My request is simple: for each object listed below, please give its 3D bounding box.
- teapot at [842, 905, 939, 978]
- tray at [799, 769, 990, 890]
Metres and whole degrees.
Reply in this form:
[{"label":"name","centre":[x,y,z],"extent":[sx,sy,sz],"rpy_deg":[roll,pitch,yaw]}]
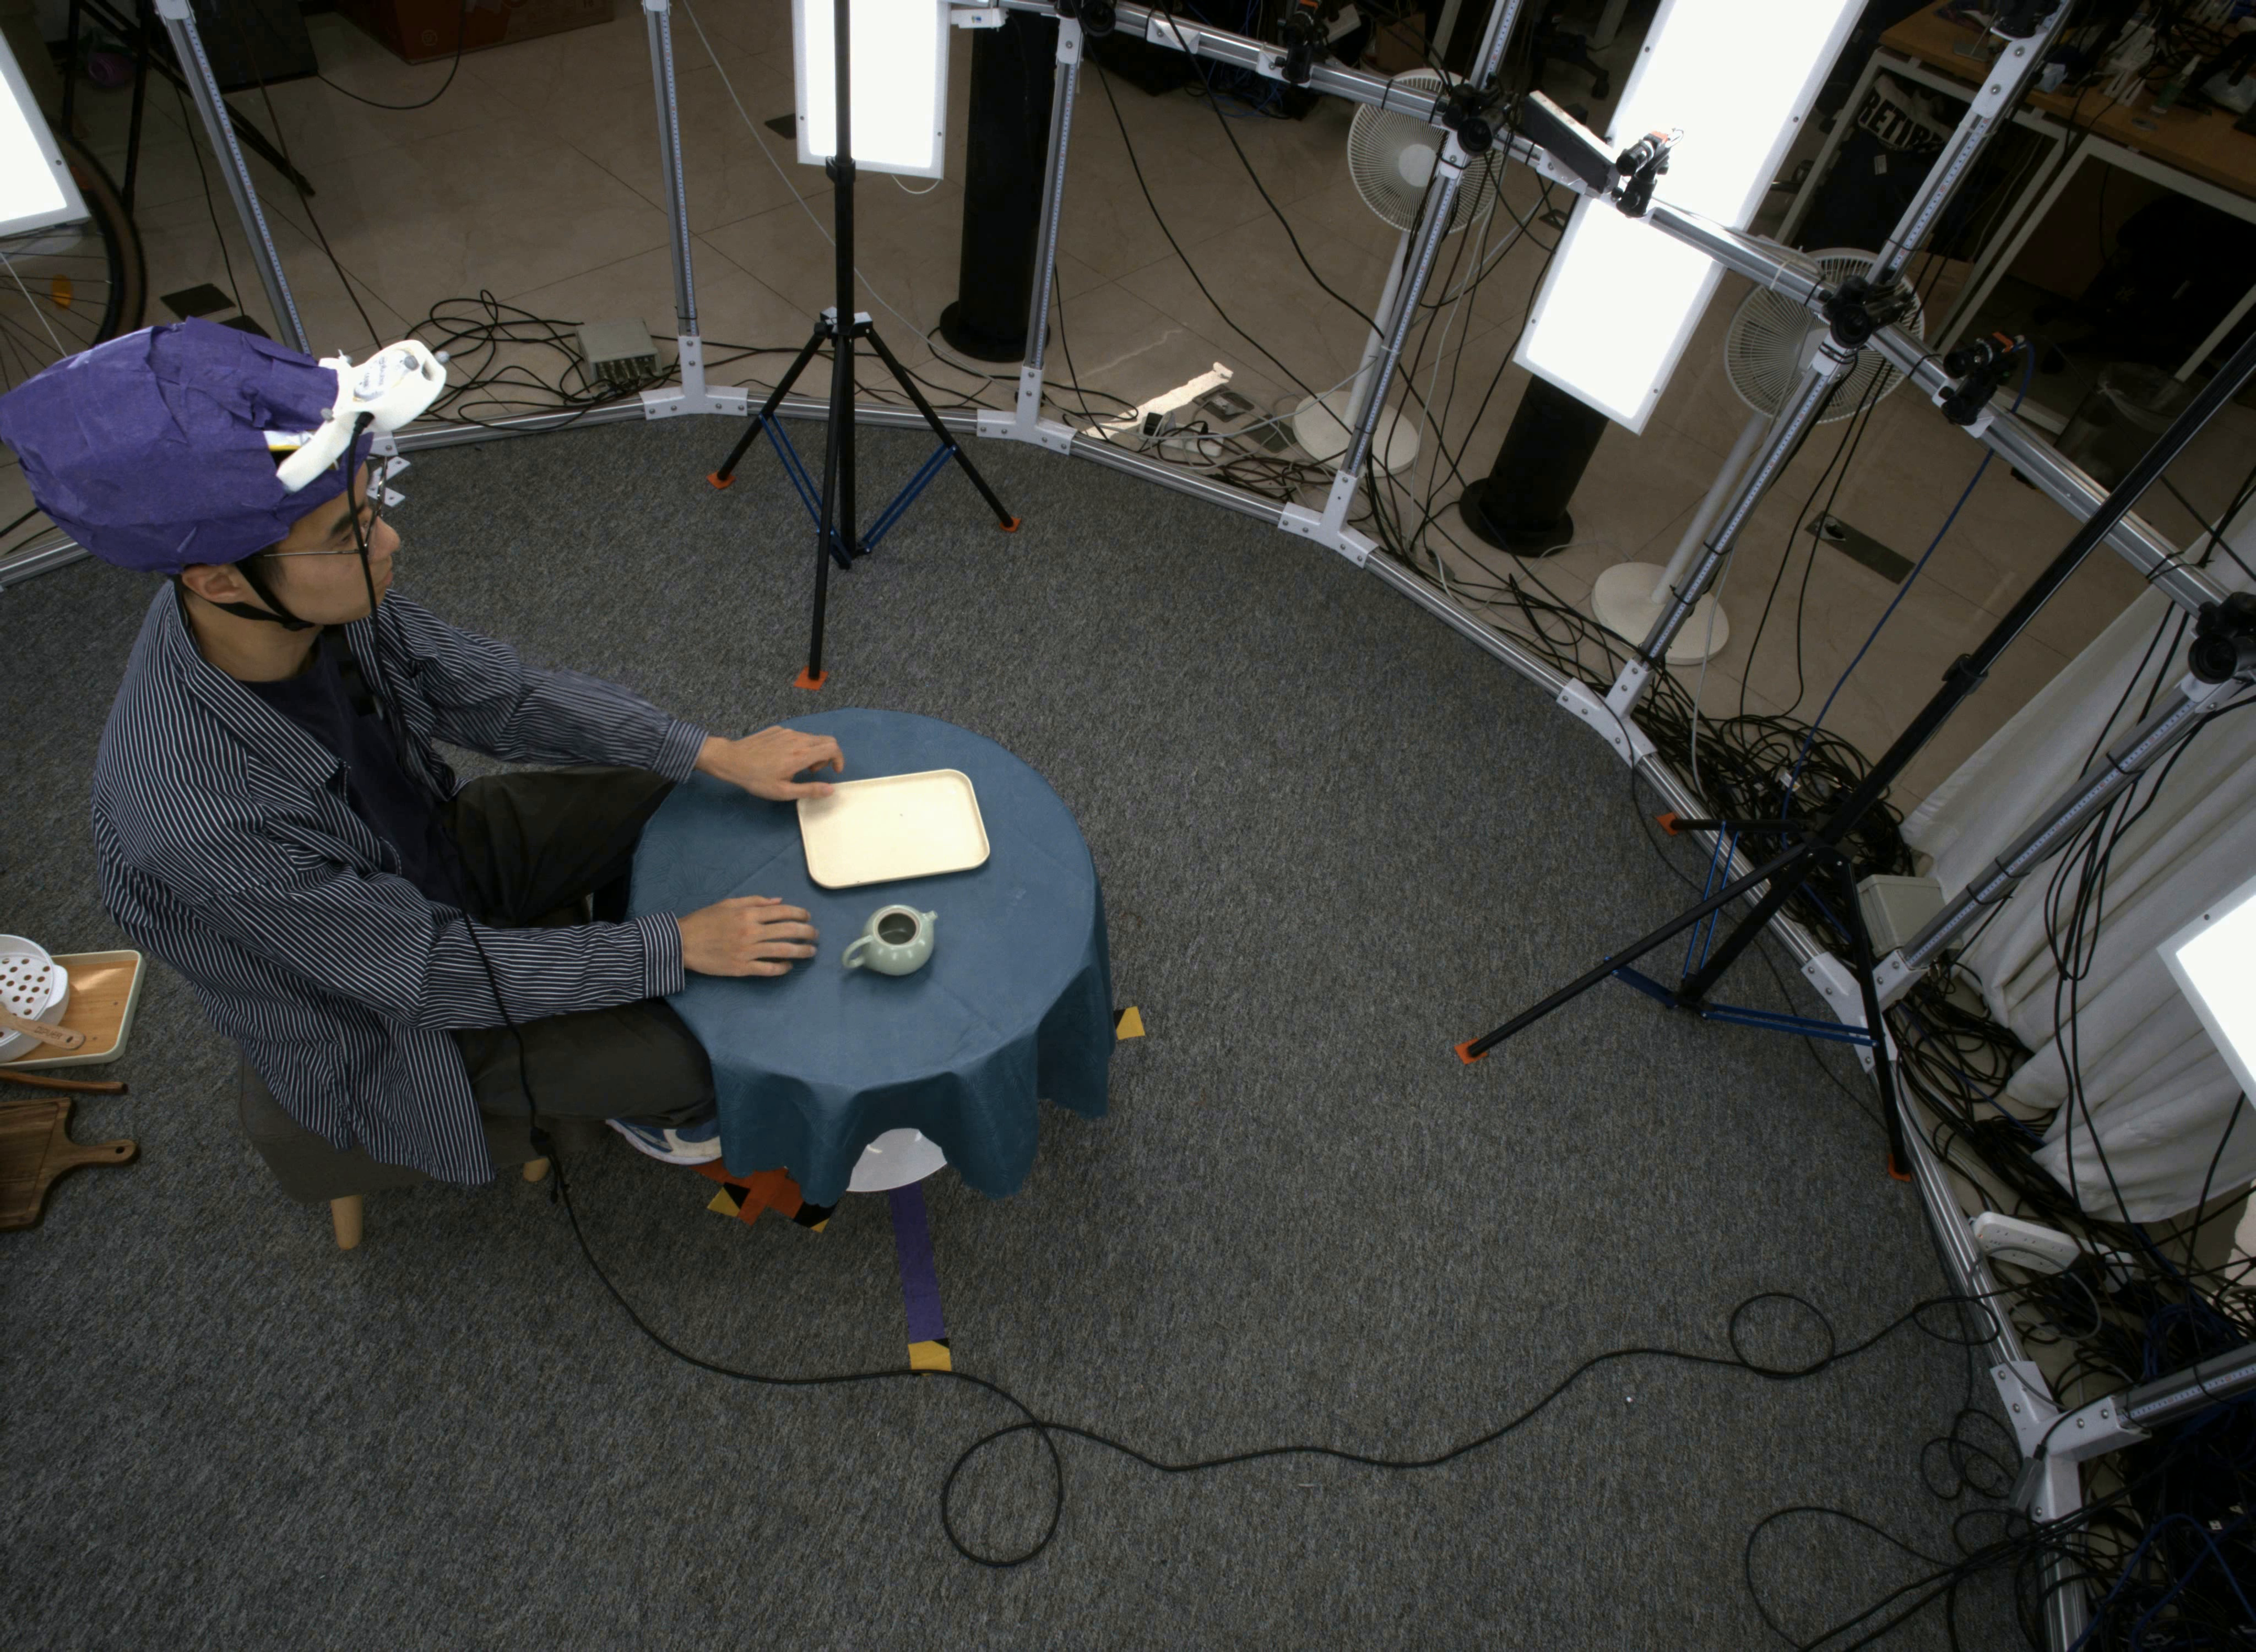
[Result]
[{"label":"teapot","centre":[-0.296,0.146,1.626],"extent":[0.129,0.062,0.089],"rpy_deg":[-17,60,-23]},{"label":"tray","centre":[-0.315,0.004,1.753],"extent":[0.240,0.018,0.167],"rpy_deg":[-8,56,-19]}]
